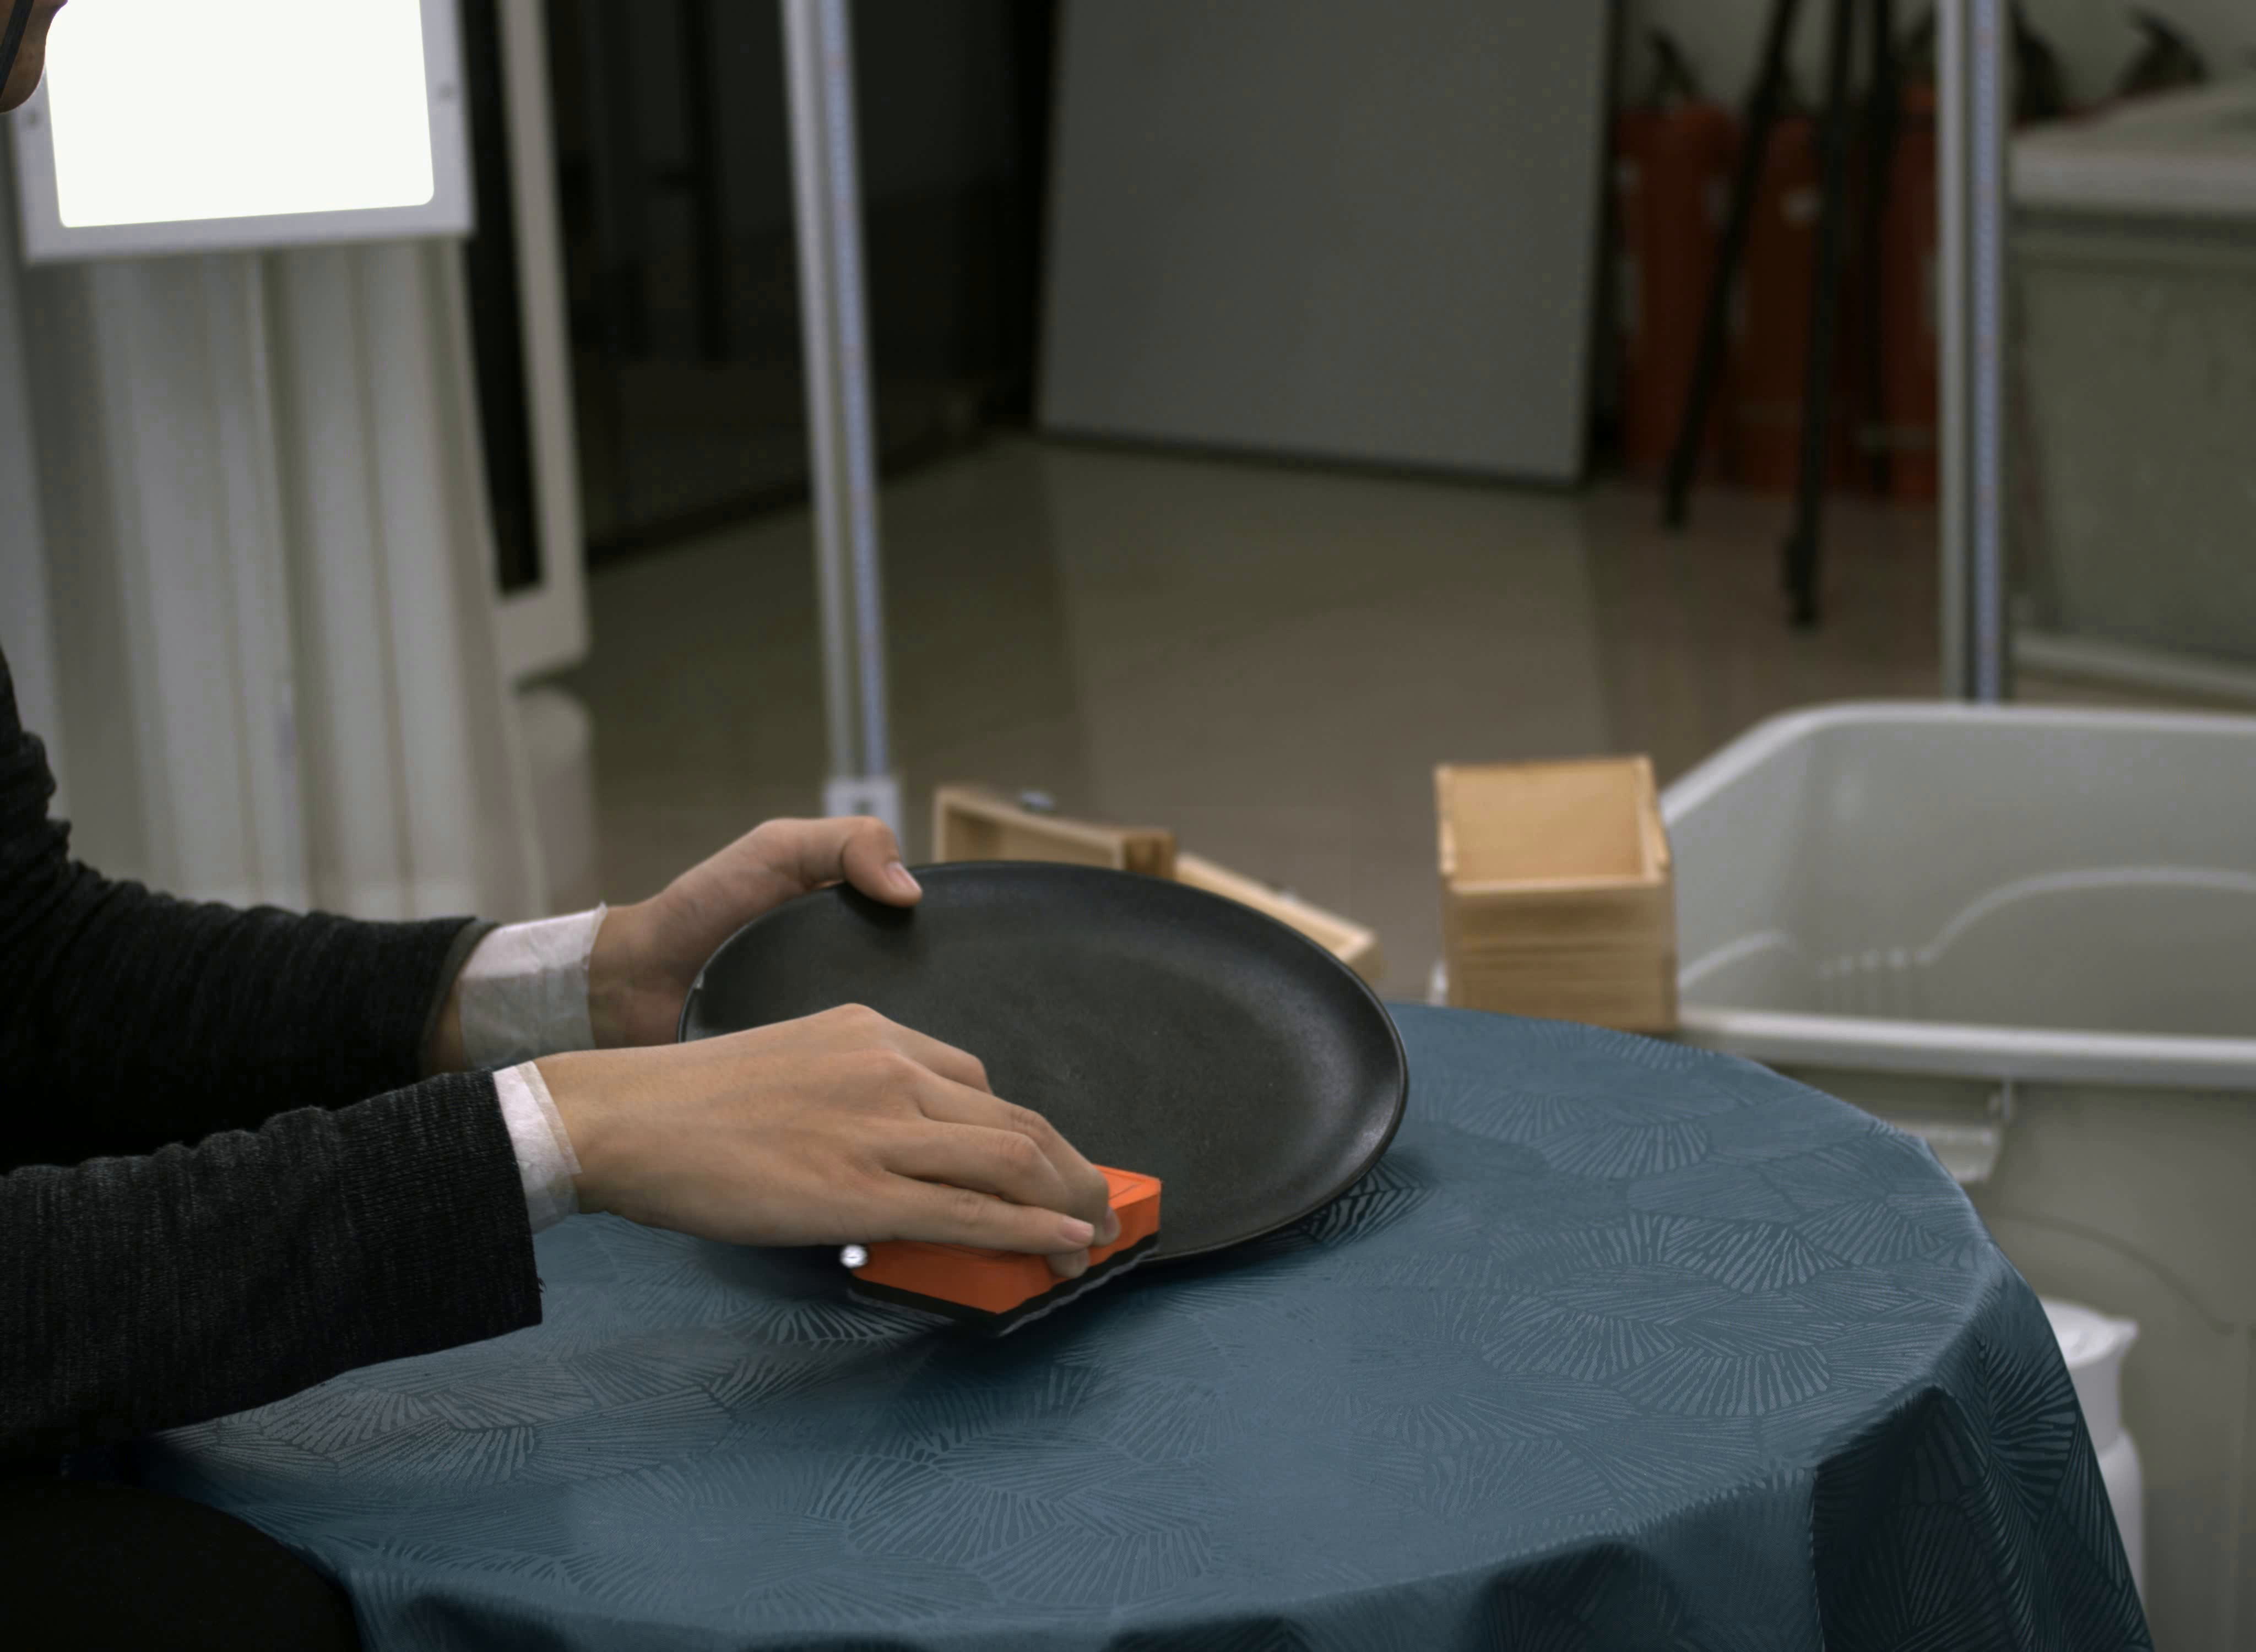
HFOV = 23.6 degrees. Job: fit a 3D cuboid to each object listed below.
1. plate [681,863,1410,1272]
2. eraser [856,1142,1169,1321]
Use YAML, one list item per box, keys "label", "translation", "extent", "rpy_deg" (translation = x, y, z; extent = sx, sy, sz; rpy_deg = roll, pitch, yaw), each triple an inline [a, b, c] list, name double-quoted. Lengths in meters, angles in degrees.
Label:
- label: "plate"
  translation: [-0.027, 0.083, 1.775]
  extent: [0.241, 0.023, 0.245]
  rpy_deg: [2, 30, -2]
- label: "eraser"
  translation: [-0.034, 0.123, 1.651]
  extent: [0.059, 0.023, 0.106]
  rpy_deg: [2, 15, 31]
